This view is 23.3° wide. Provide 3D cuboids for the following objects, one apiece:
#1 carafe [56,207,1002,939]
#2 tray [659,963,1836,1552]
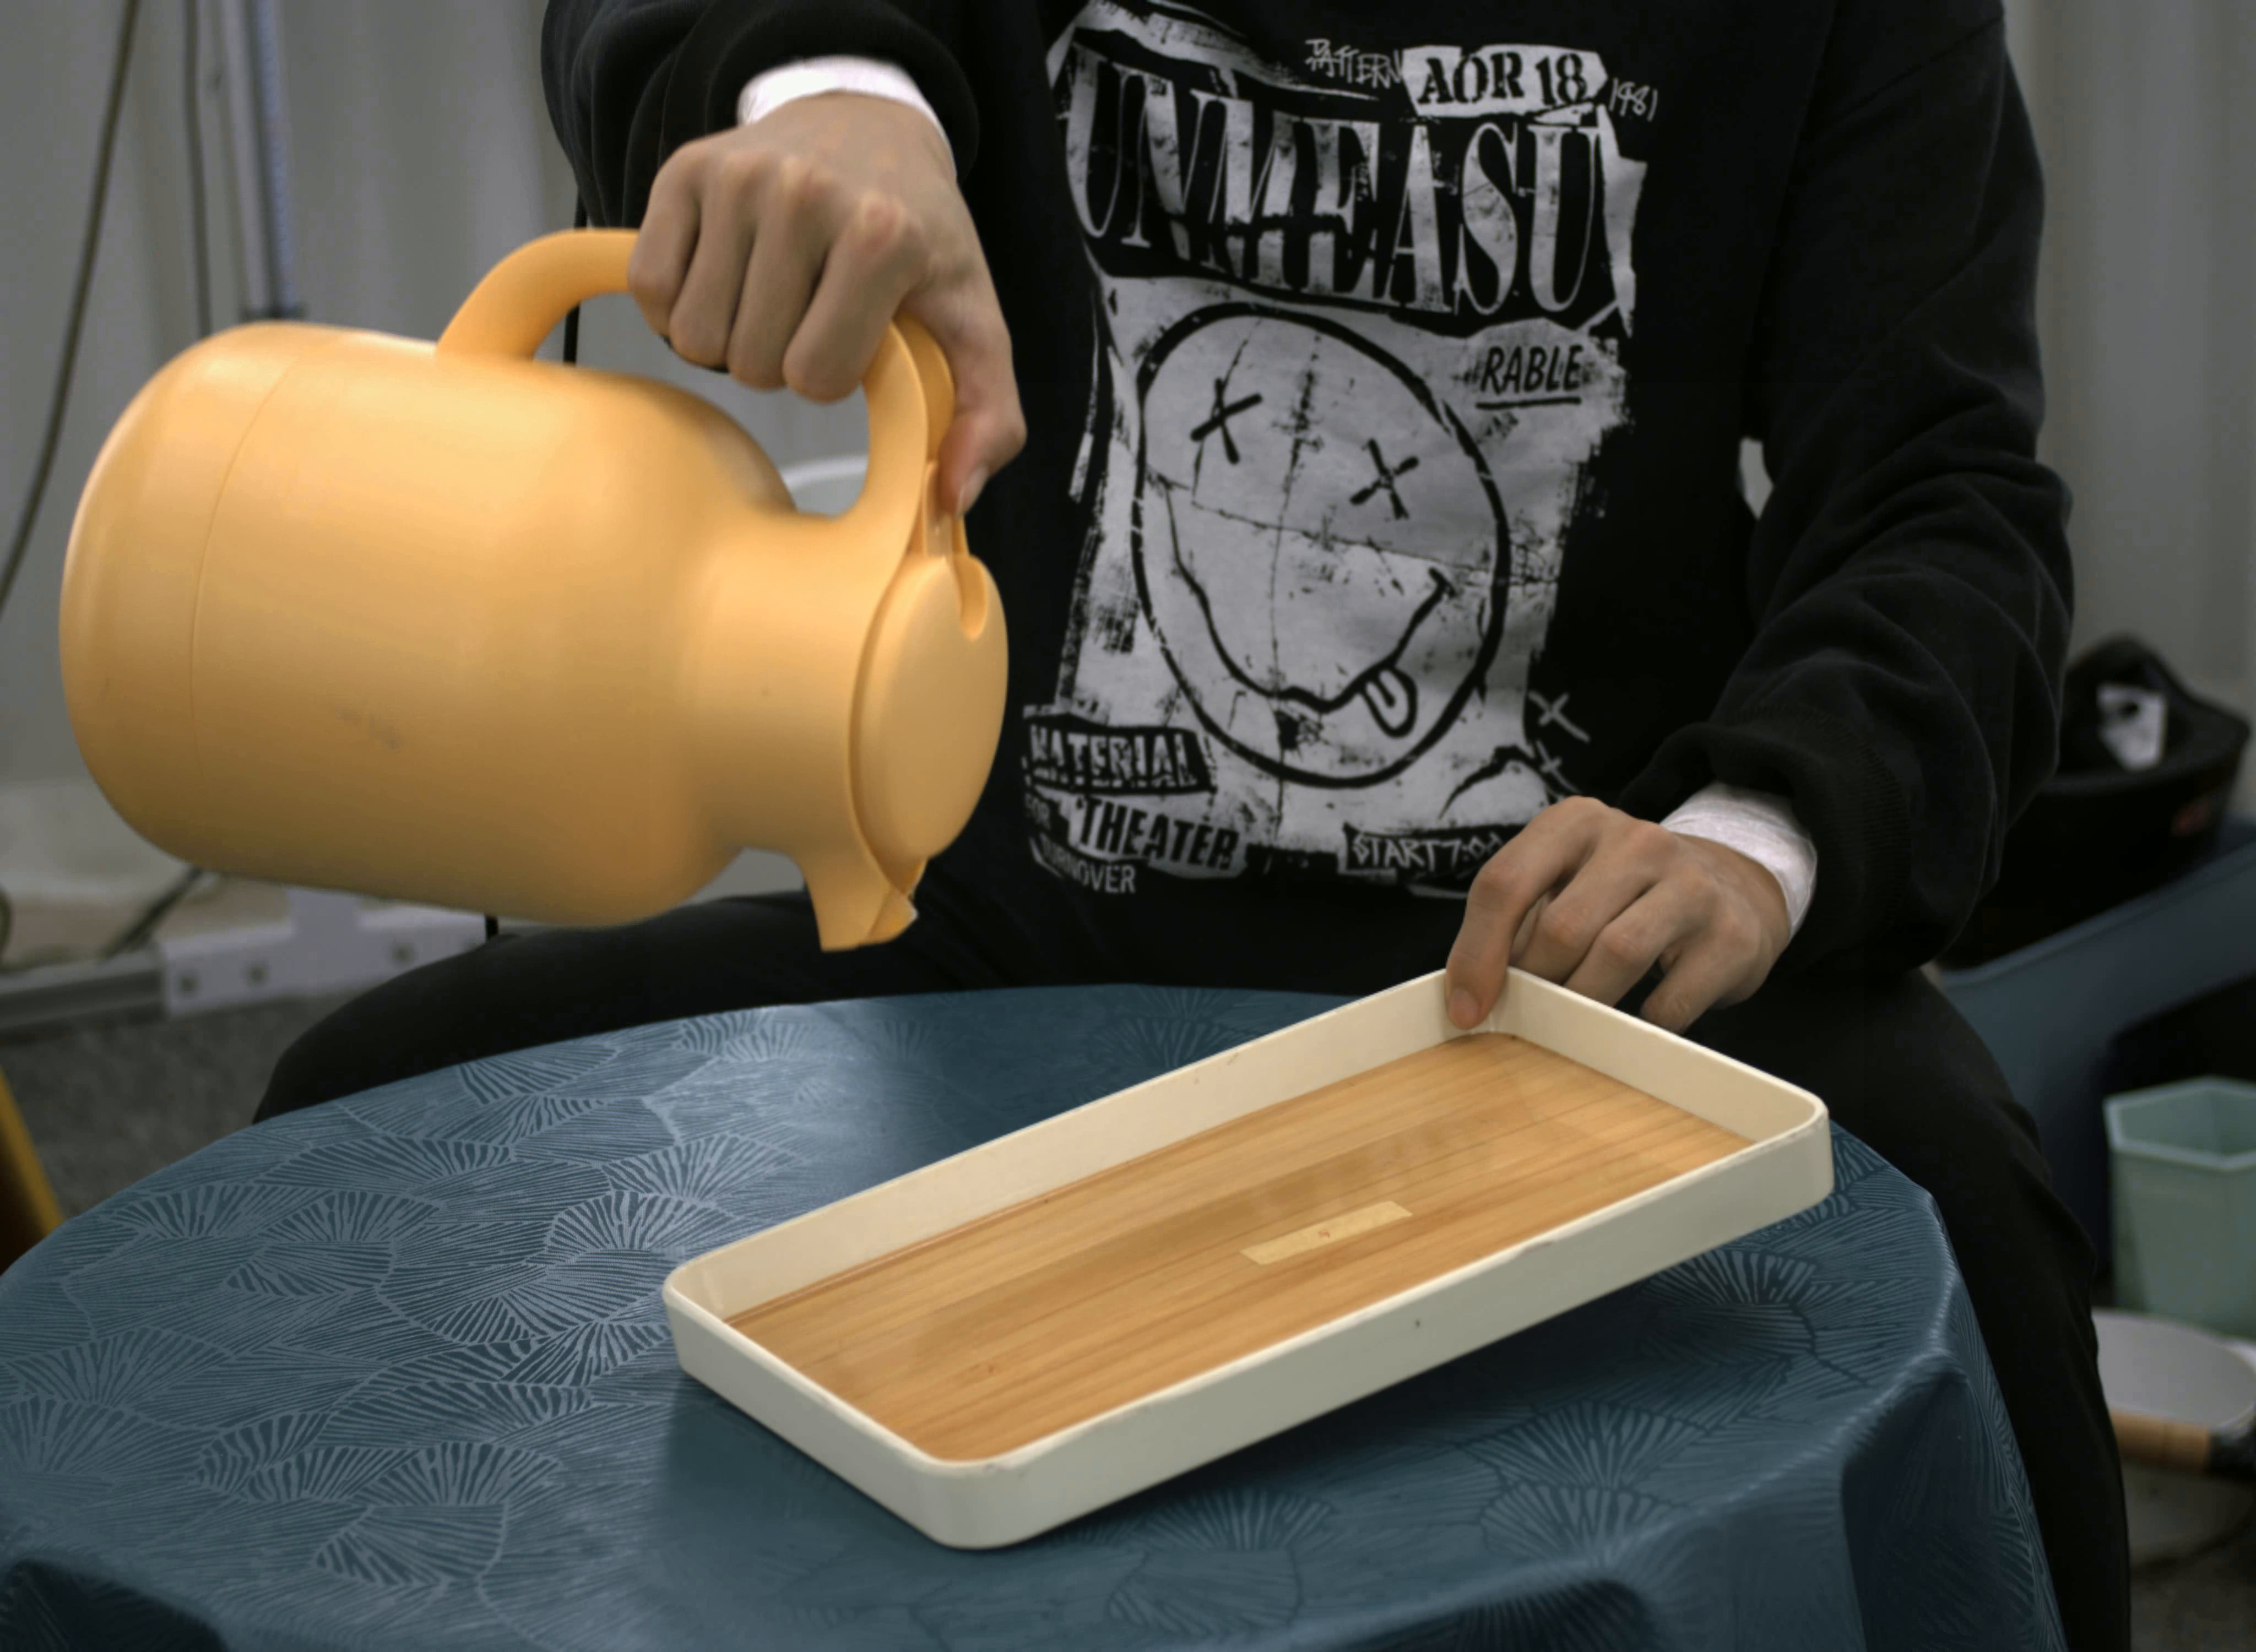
[{"bbox_3d":[-0.162,-0.078,1.573,0.261,0.203,0.163,11,2,19],"label":"carafe"},{"bbox_3d":[0.034,0.117,1.566,0.300,0.027,0.193,-19,22,-26],"label":"tray"}]
